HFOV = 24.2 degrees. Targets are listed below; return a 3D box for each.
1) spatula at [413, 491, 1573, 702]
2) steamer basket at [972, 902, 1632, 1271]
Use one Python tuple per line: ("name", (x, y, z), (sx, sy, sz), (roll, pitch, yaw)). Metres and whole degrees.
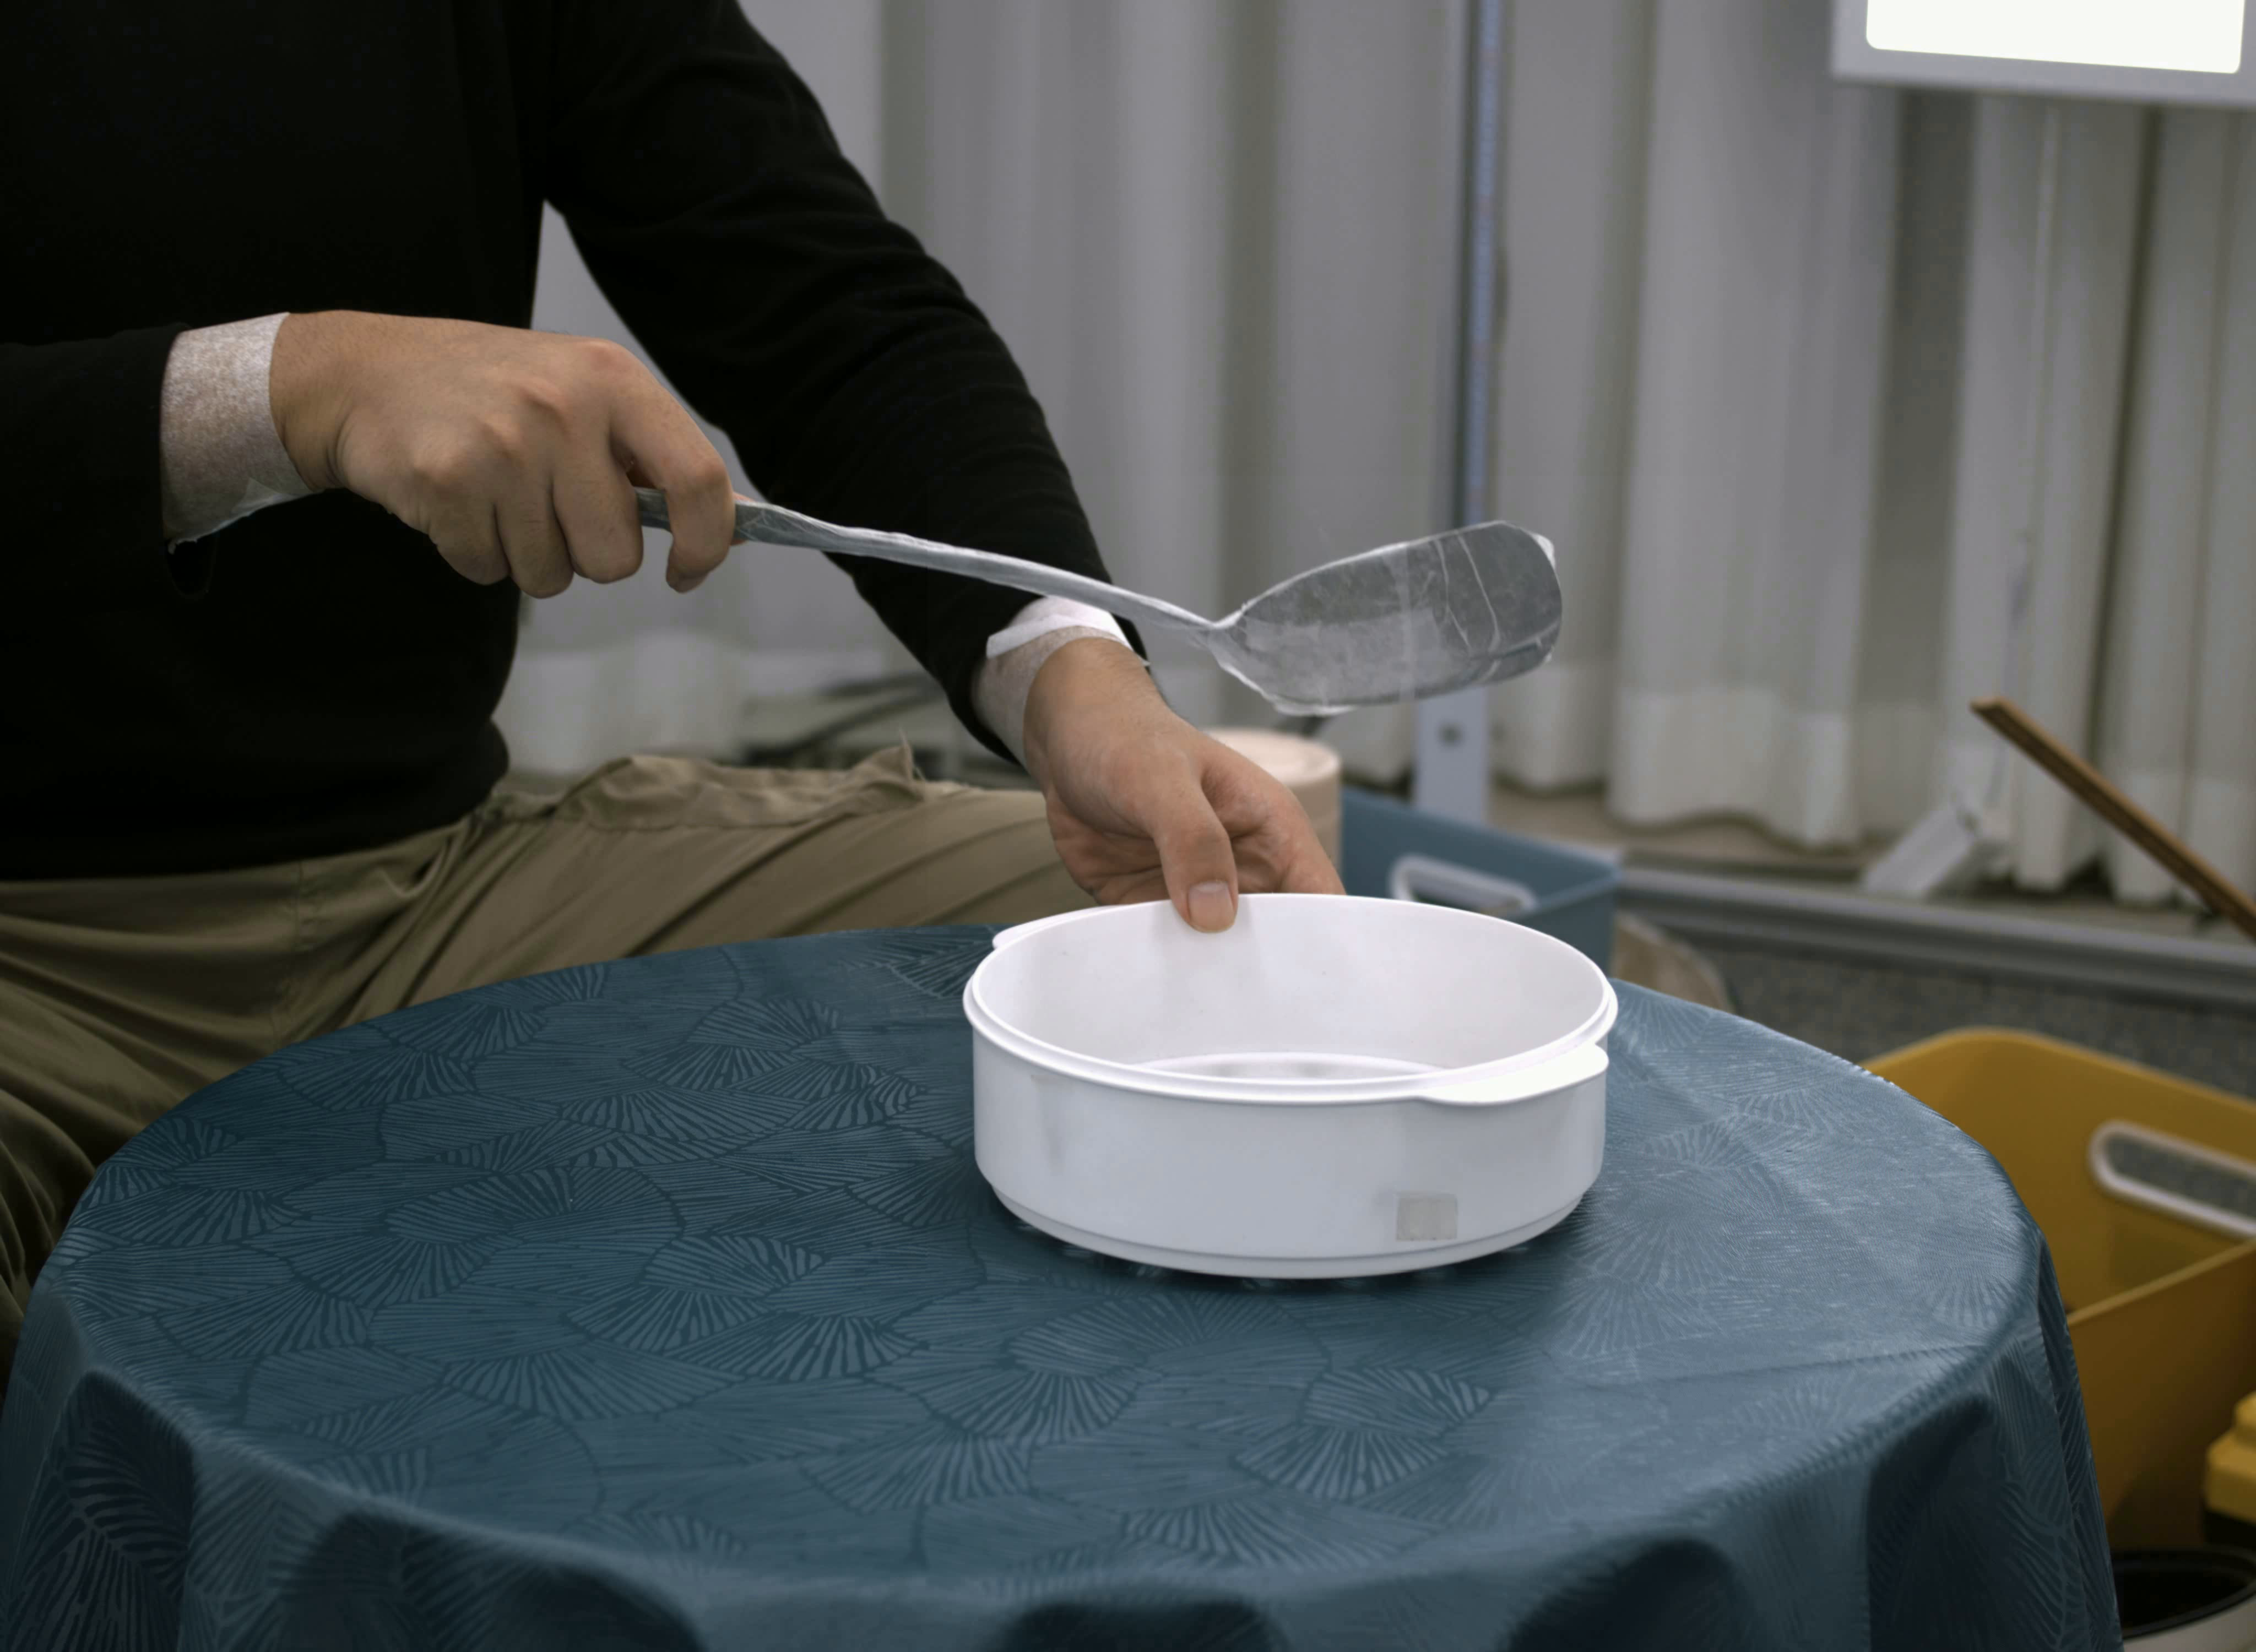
("spatula", (-0.046, -0.084, 1.621), (0.362, 0.044, 0.099), (10, -24, 10))
("steamer basket", (0.053, 0.079, 1.610), (0.203, 0.070, 0.227), (-11, 19, -40))
